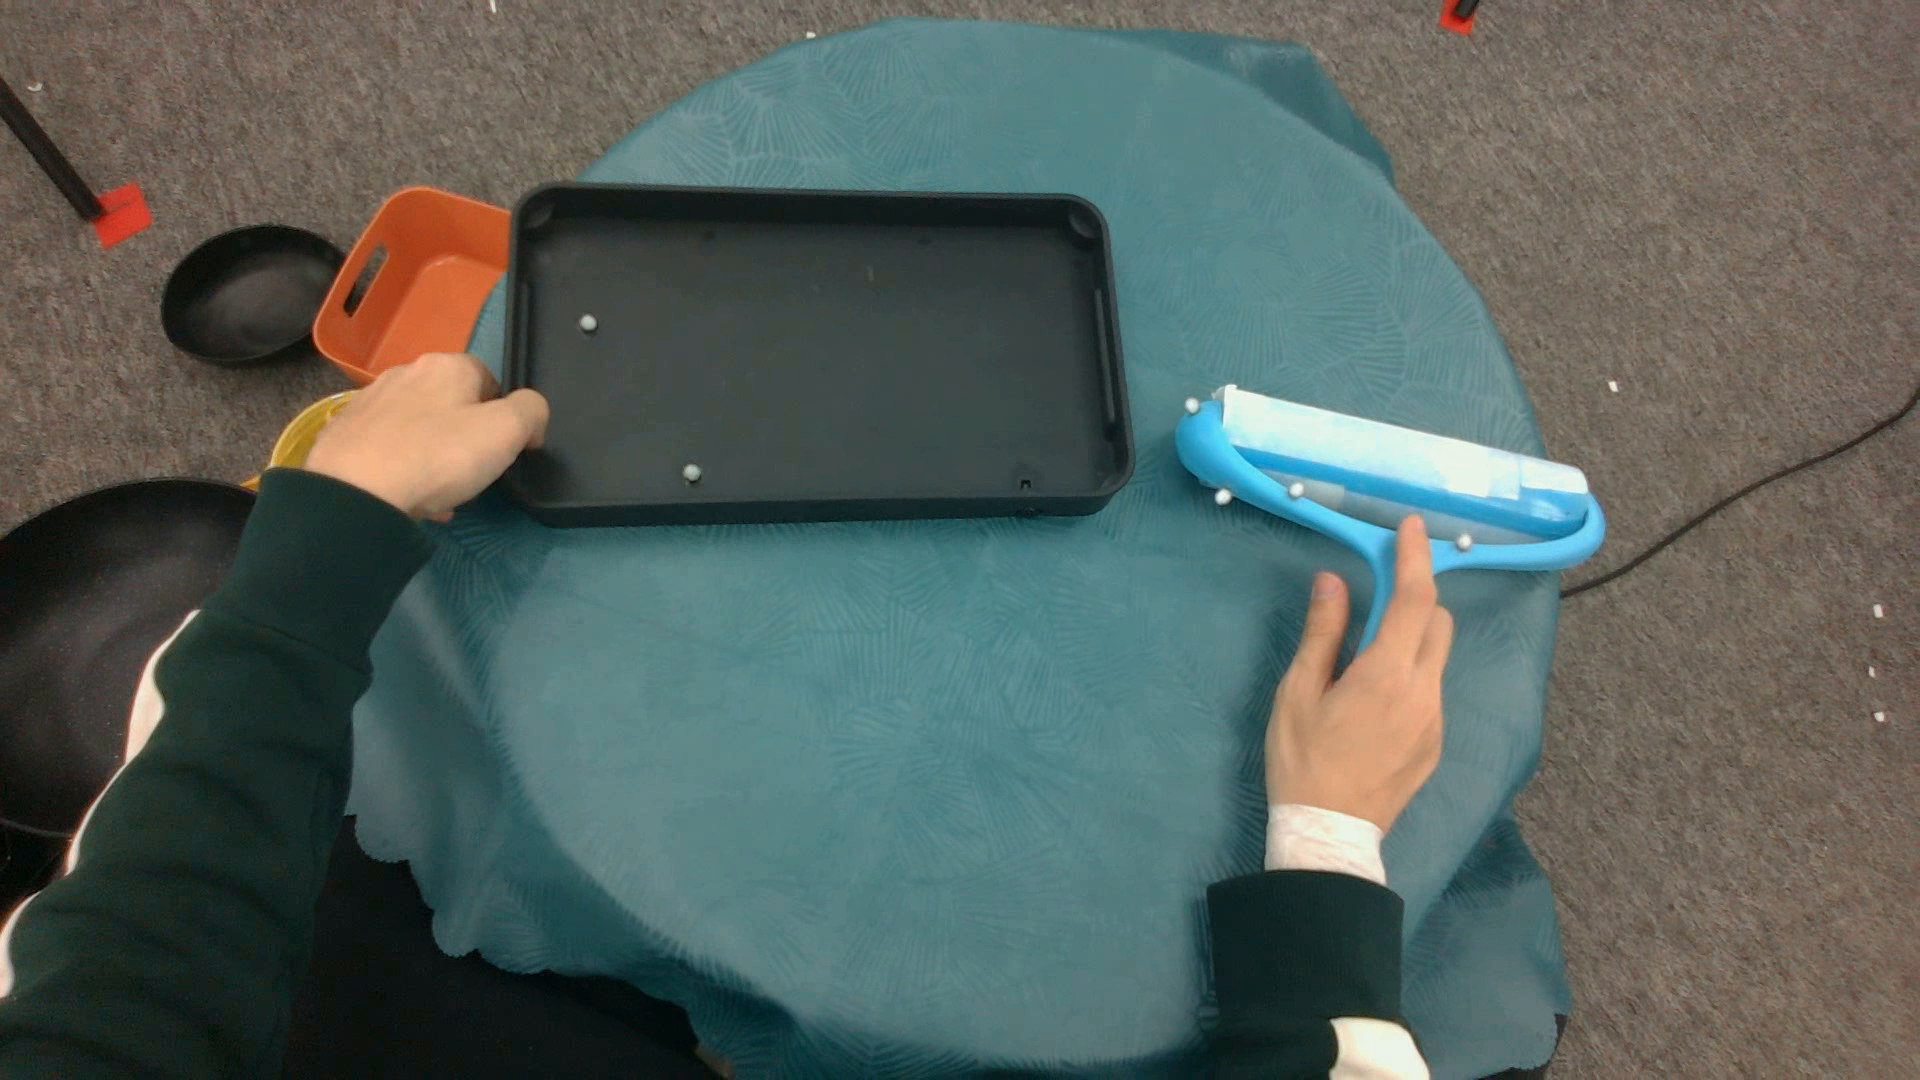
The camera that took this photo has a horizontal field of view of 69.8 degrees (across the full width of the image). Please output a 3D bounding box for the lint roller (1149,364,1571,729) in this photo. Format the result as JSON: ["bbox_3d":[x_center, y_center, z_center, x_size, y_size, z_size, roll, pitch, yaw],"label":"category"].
[{"bbox_3d":[0.207,0.004,0.714,0.229,0.067,0.181,9,67,-6],"label":"lint roller"}]

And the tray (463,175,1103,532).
[{"bbox_3d":[-0.092,-0.103,0.726,0.318,0.037,0.185,-4,70,-11],"label":"tray"}]
